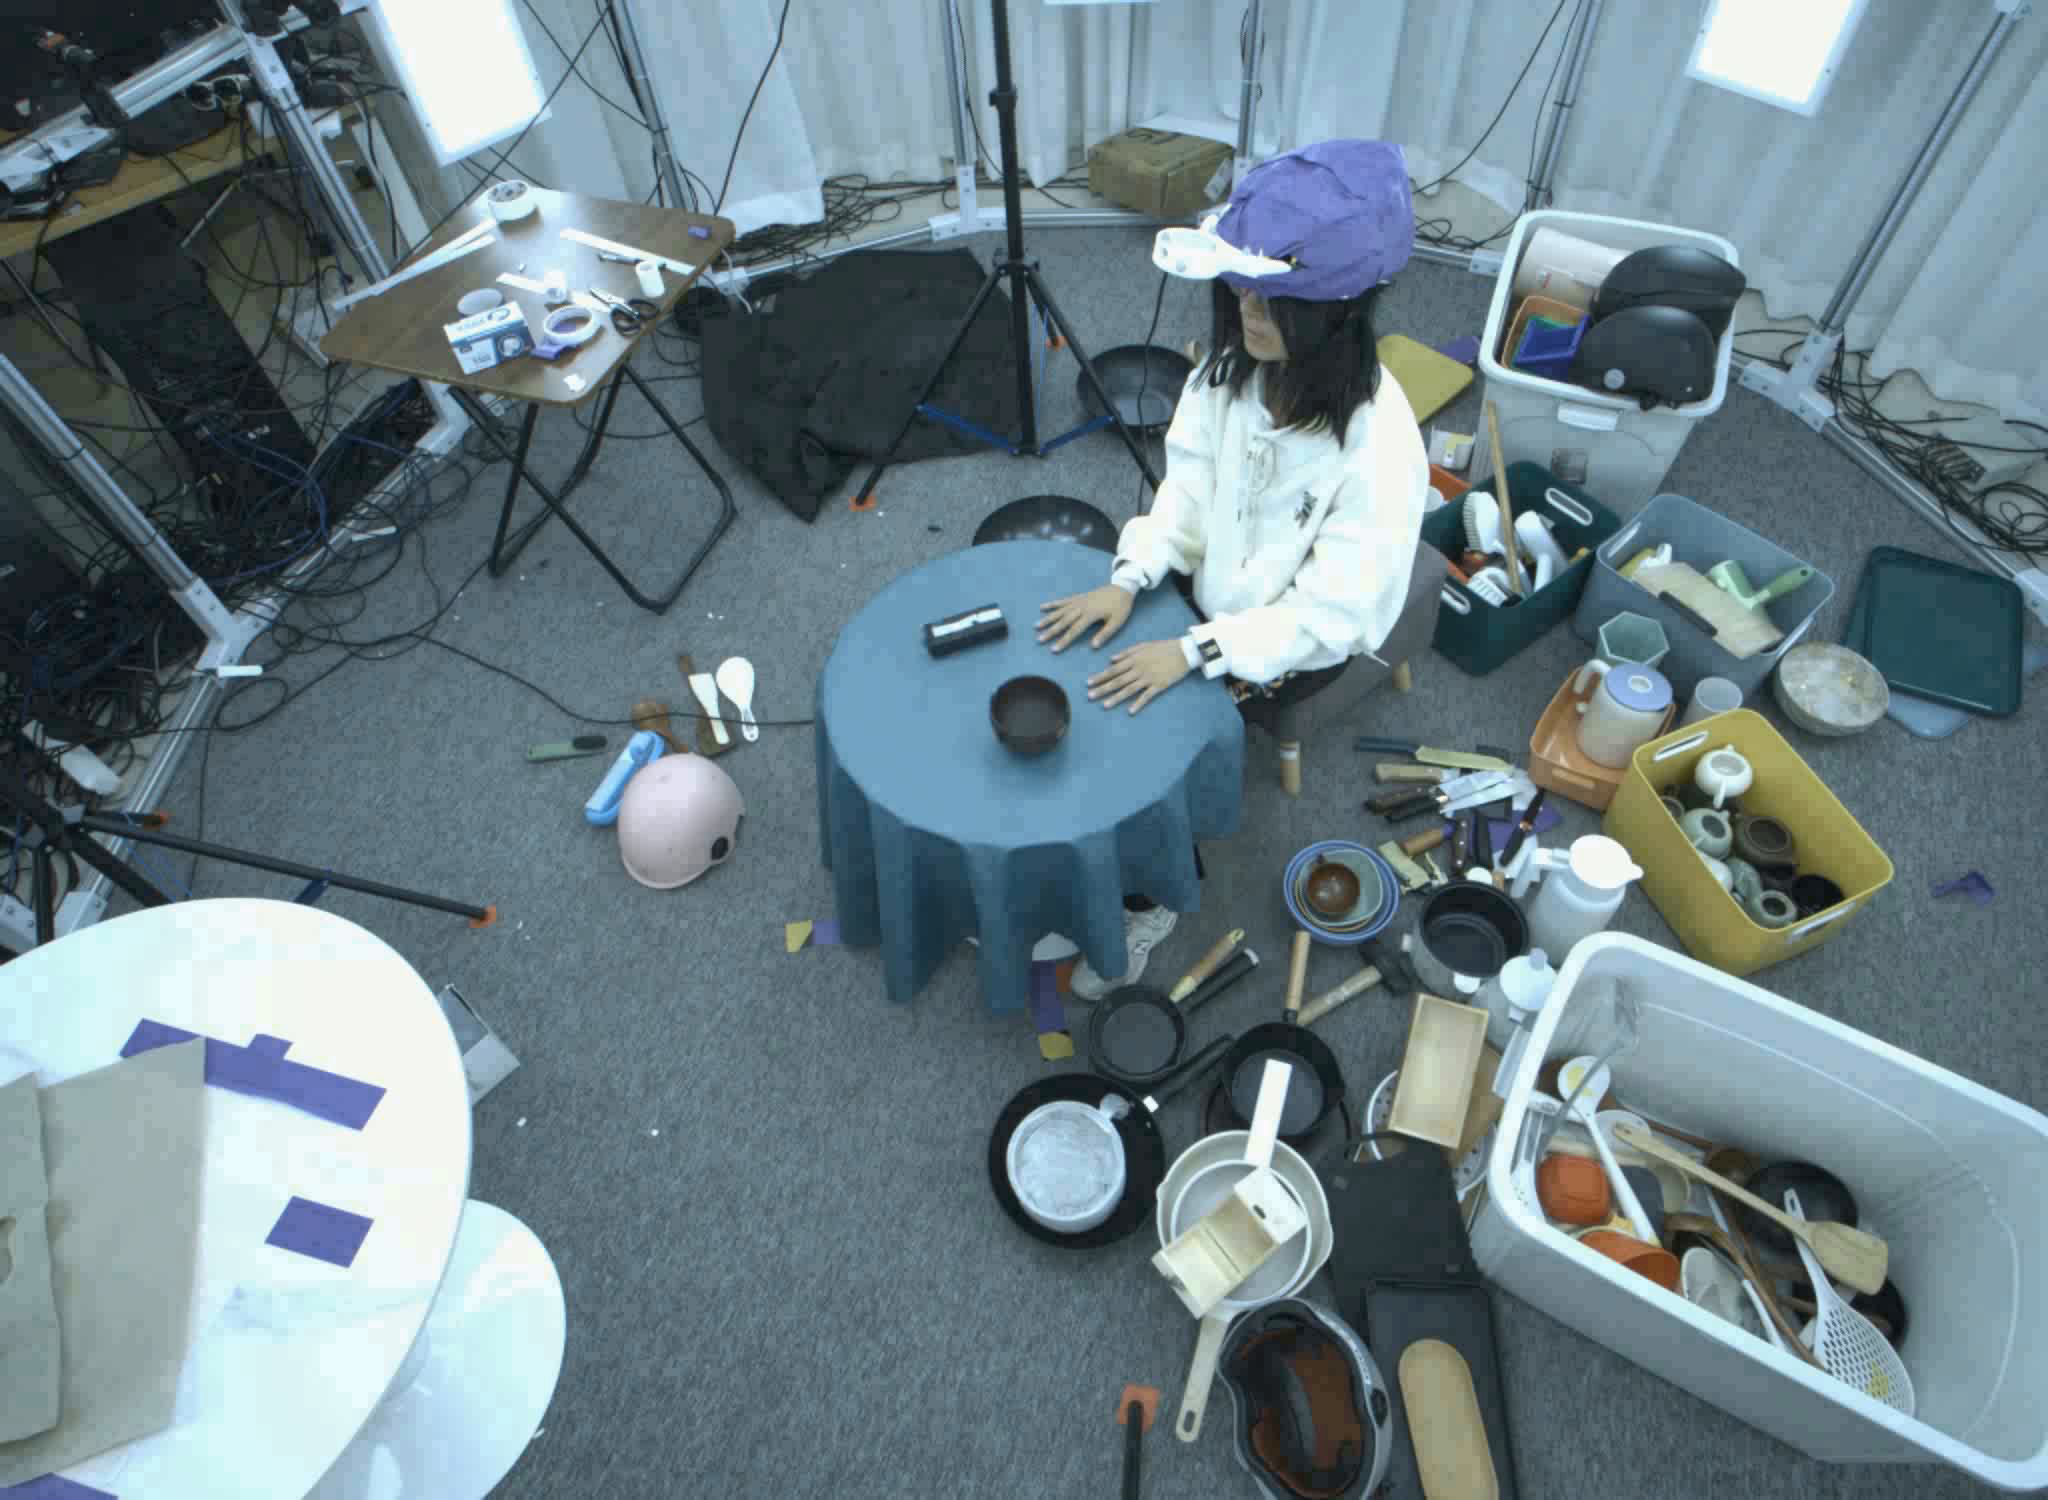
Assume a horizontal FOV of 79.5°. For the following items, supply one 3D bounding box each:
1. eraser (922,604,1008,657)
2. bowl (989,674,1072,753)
[{"bbox_3d":[-0.092,-0.186,1.906,0.126,0.031,0.052,-18,57,-12],"label":"eraser"},{"bbox_3d":[0.010,-0.045,1.775,0.118,0.070,0.117,0,54,2],"label":"bowl"}]
